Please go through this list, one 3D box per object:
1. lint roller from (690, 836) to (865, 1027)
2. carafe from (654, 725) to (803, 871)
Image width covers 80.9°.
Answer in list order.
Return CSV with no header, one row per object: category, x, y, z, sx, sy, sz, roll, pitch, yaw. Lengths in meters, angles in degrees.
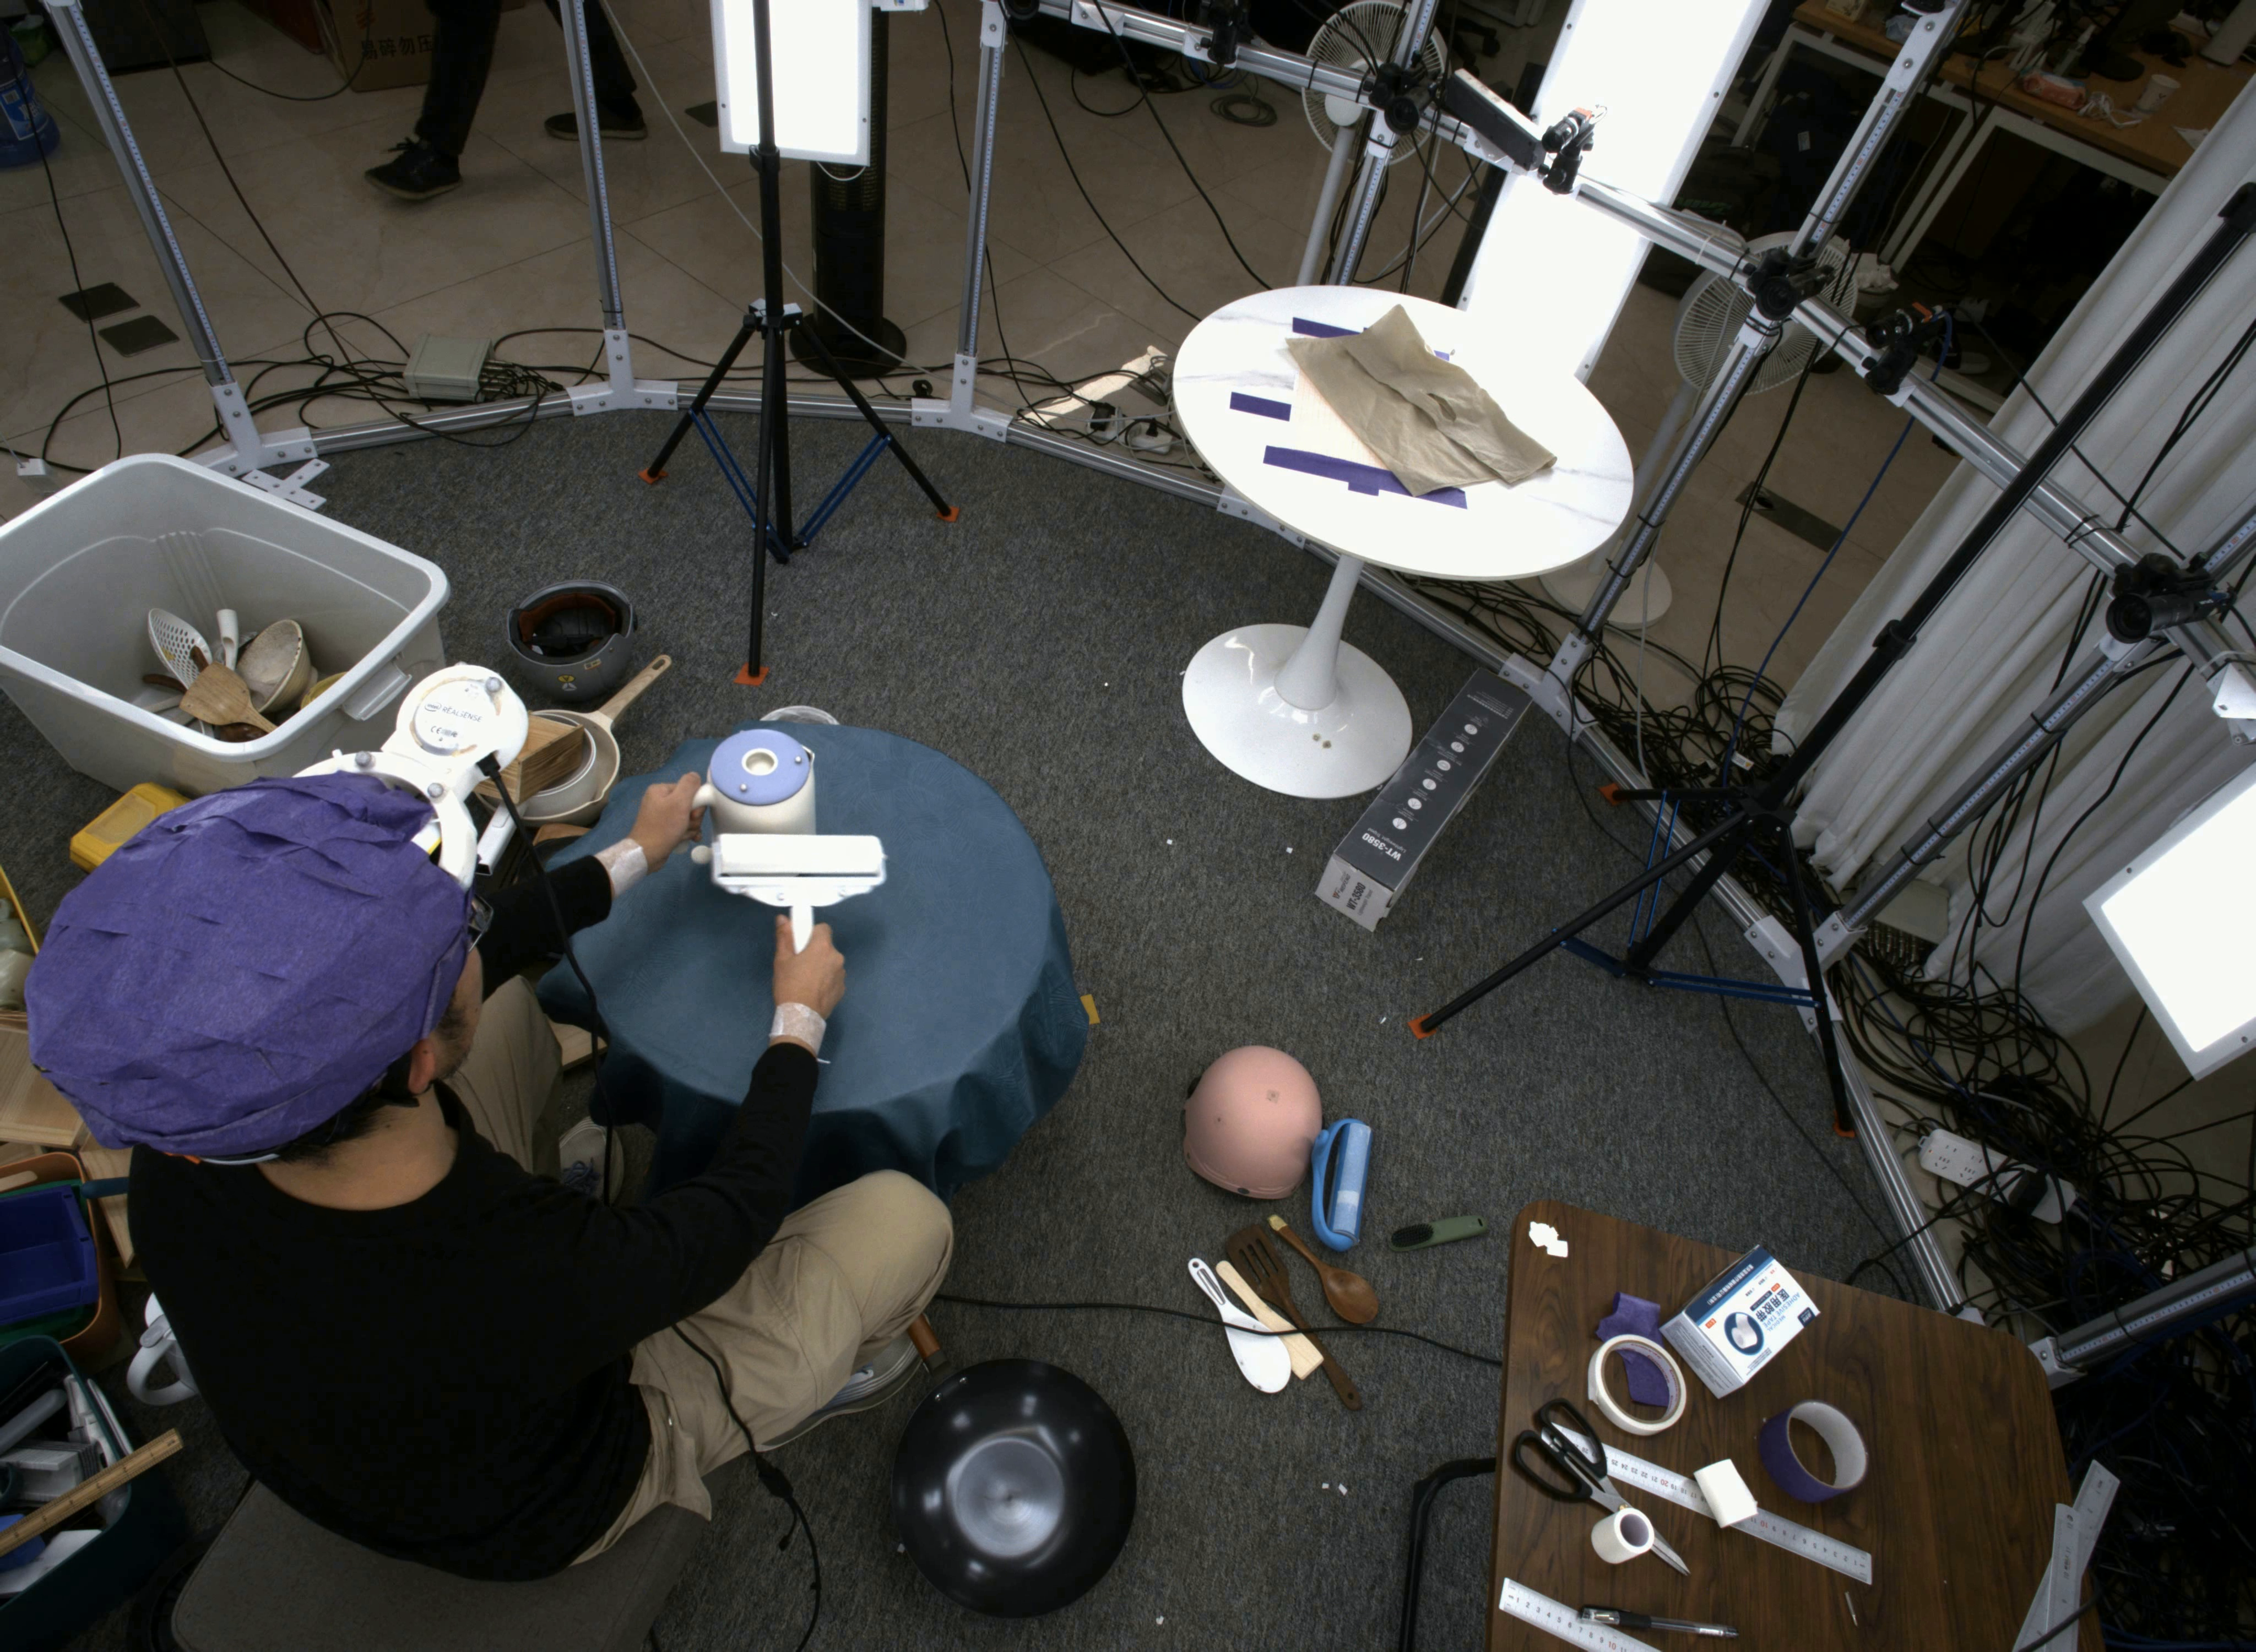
lint roller,-0.402,0.120,1.527,0.205,0.048,0.225,-3,75,-31
carafe,-0.496,-0.016,1.600,0.192,0.186,0.129,-22,59,-25
